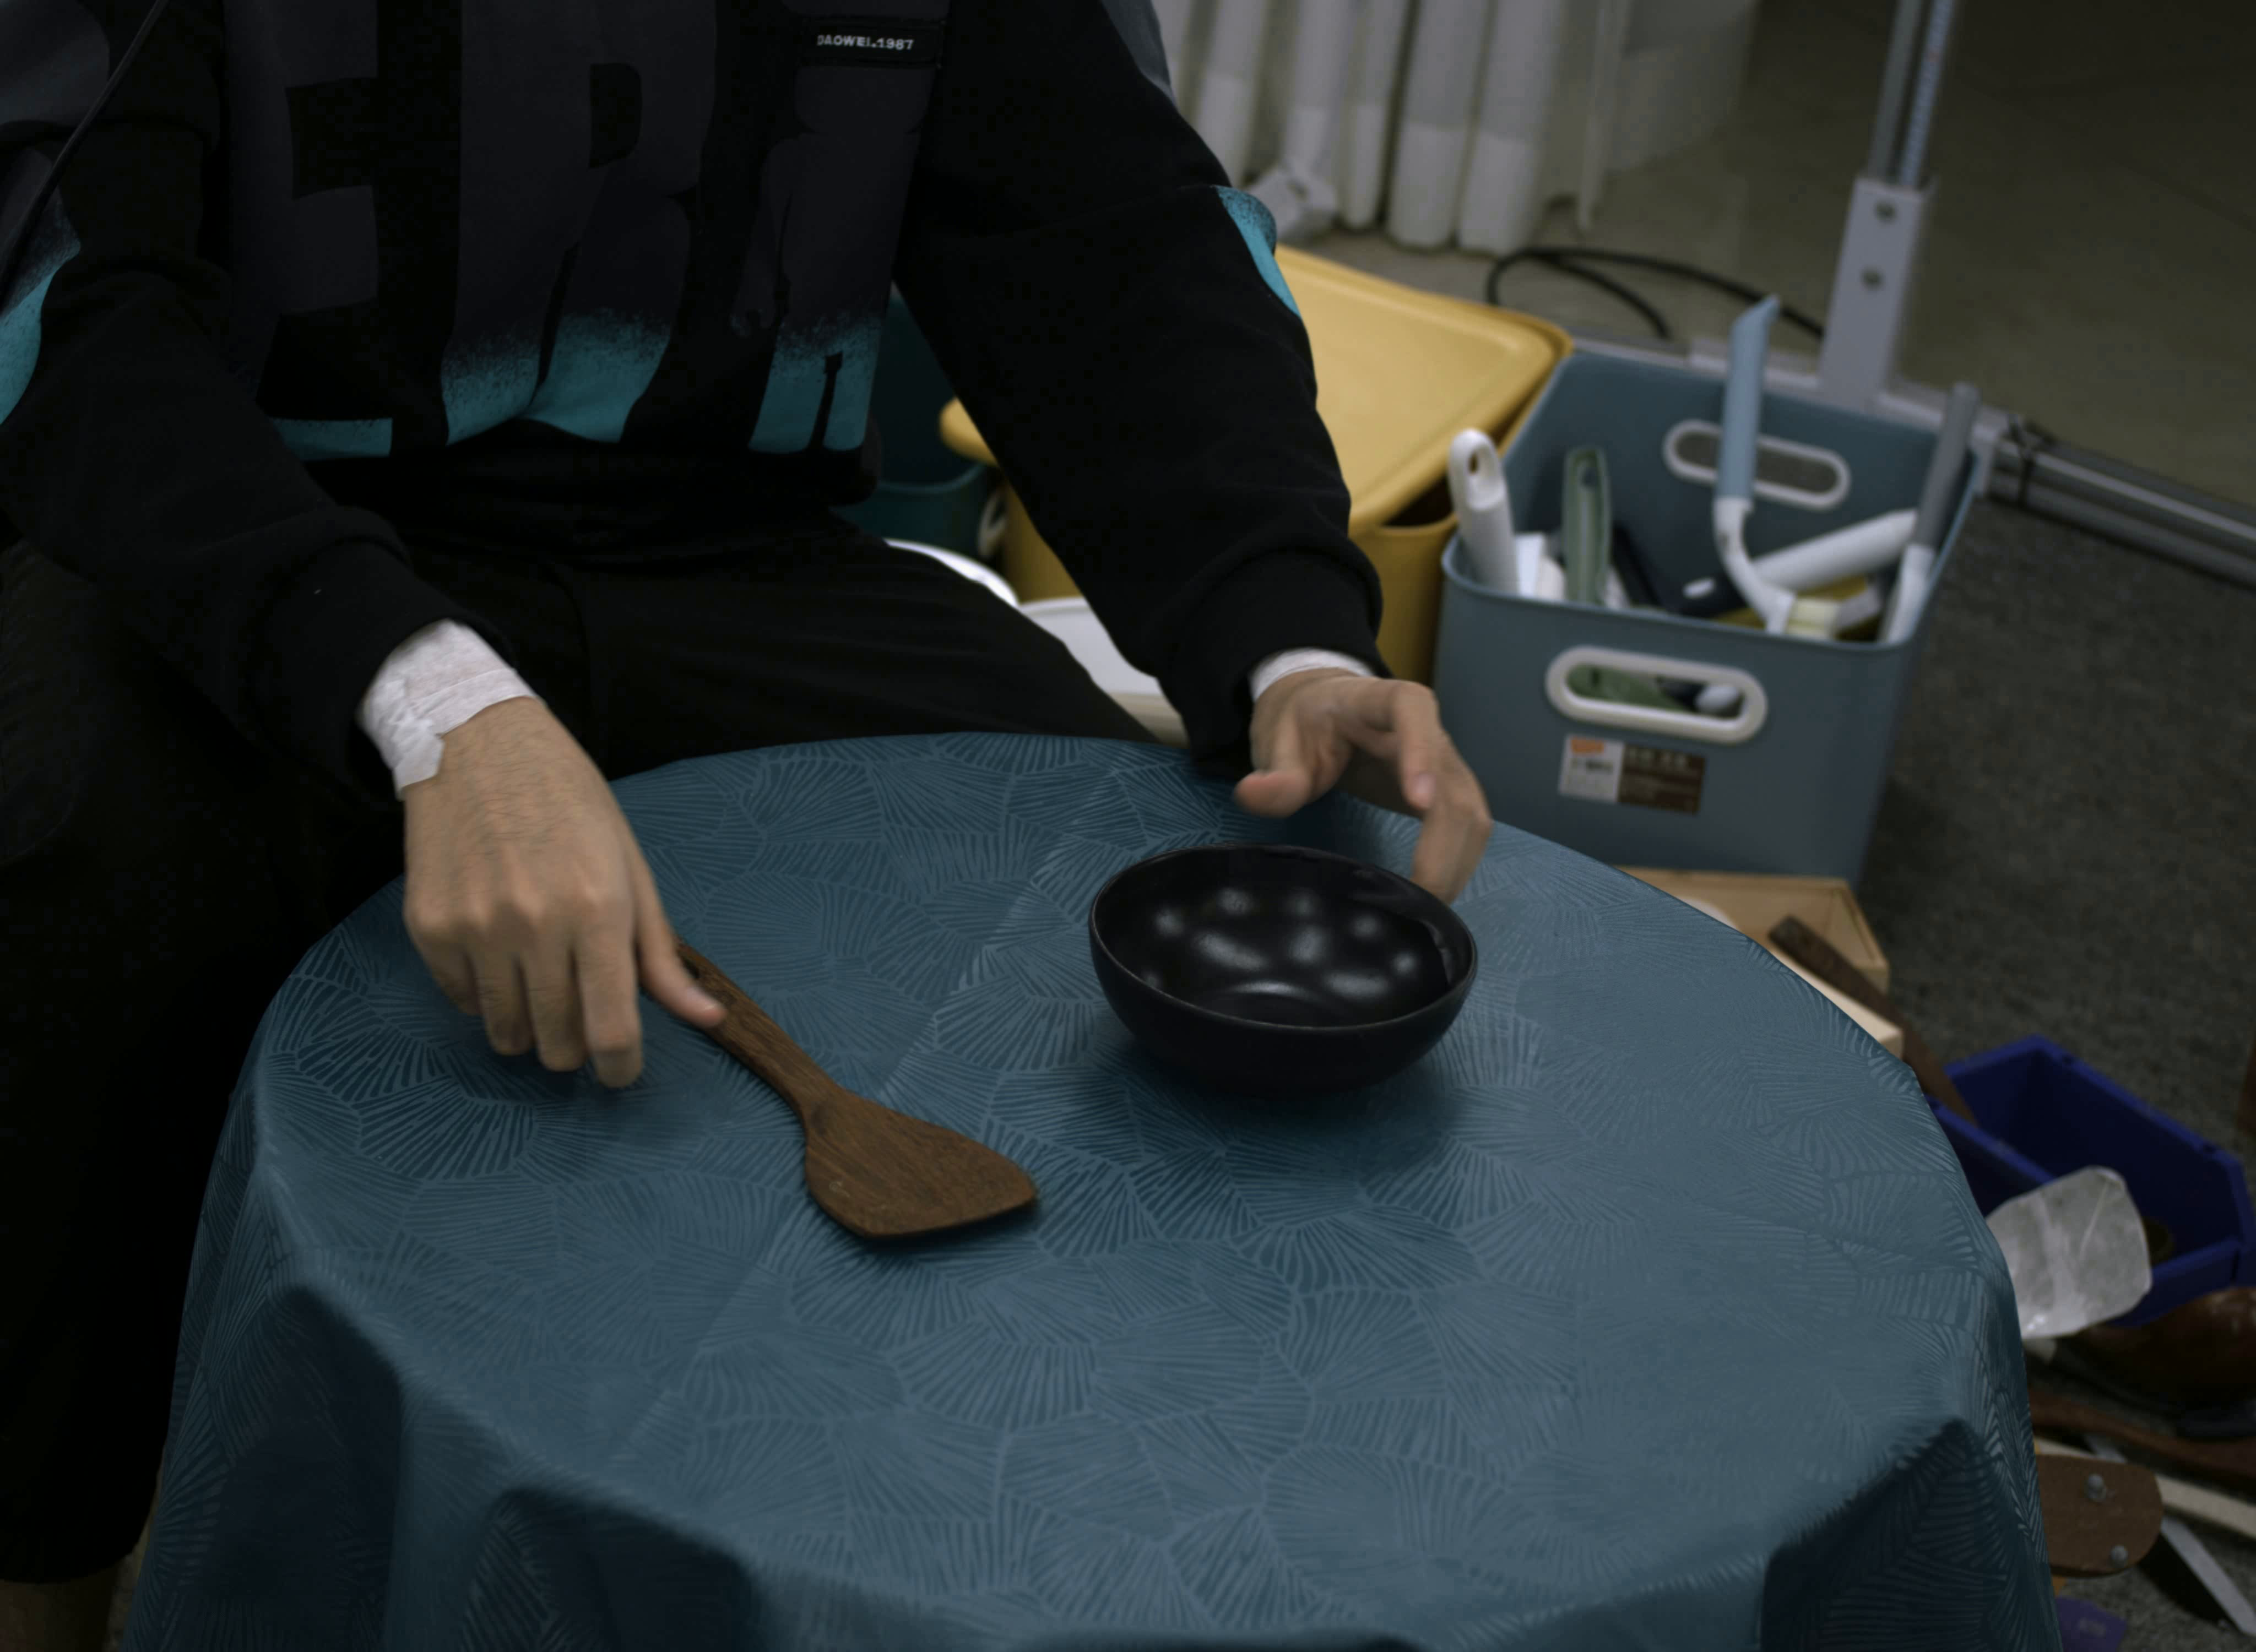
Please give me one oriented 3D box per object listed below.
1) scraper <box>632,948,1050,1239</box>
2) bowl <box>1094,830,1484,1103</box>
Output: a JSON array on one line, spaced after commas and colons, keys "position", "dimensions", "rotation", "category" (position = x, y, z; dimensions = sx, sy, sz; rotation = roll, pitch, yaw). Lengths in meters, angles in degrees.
[{"position": [-0.110, 0.090, 1.833], "dimensions": [0.075, 0.011, 0.213], "rotation": [-10, 30, -33], "category": "scraper"}, {"position": [0.054, 0.058, 1.885], "dimensions": [0.139, 0.049, 0.141], "rotation": [5, 31, -3], "category": "bowl"}]
